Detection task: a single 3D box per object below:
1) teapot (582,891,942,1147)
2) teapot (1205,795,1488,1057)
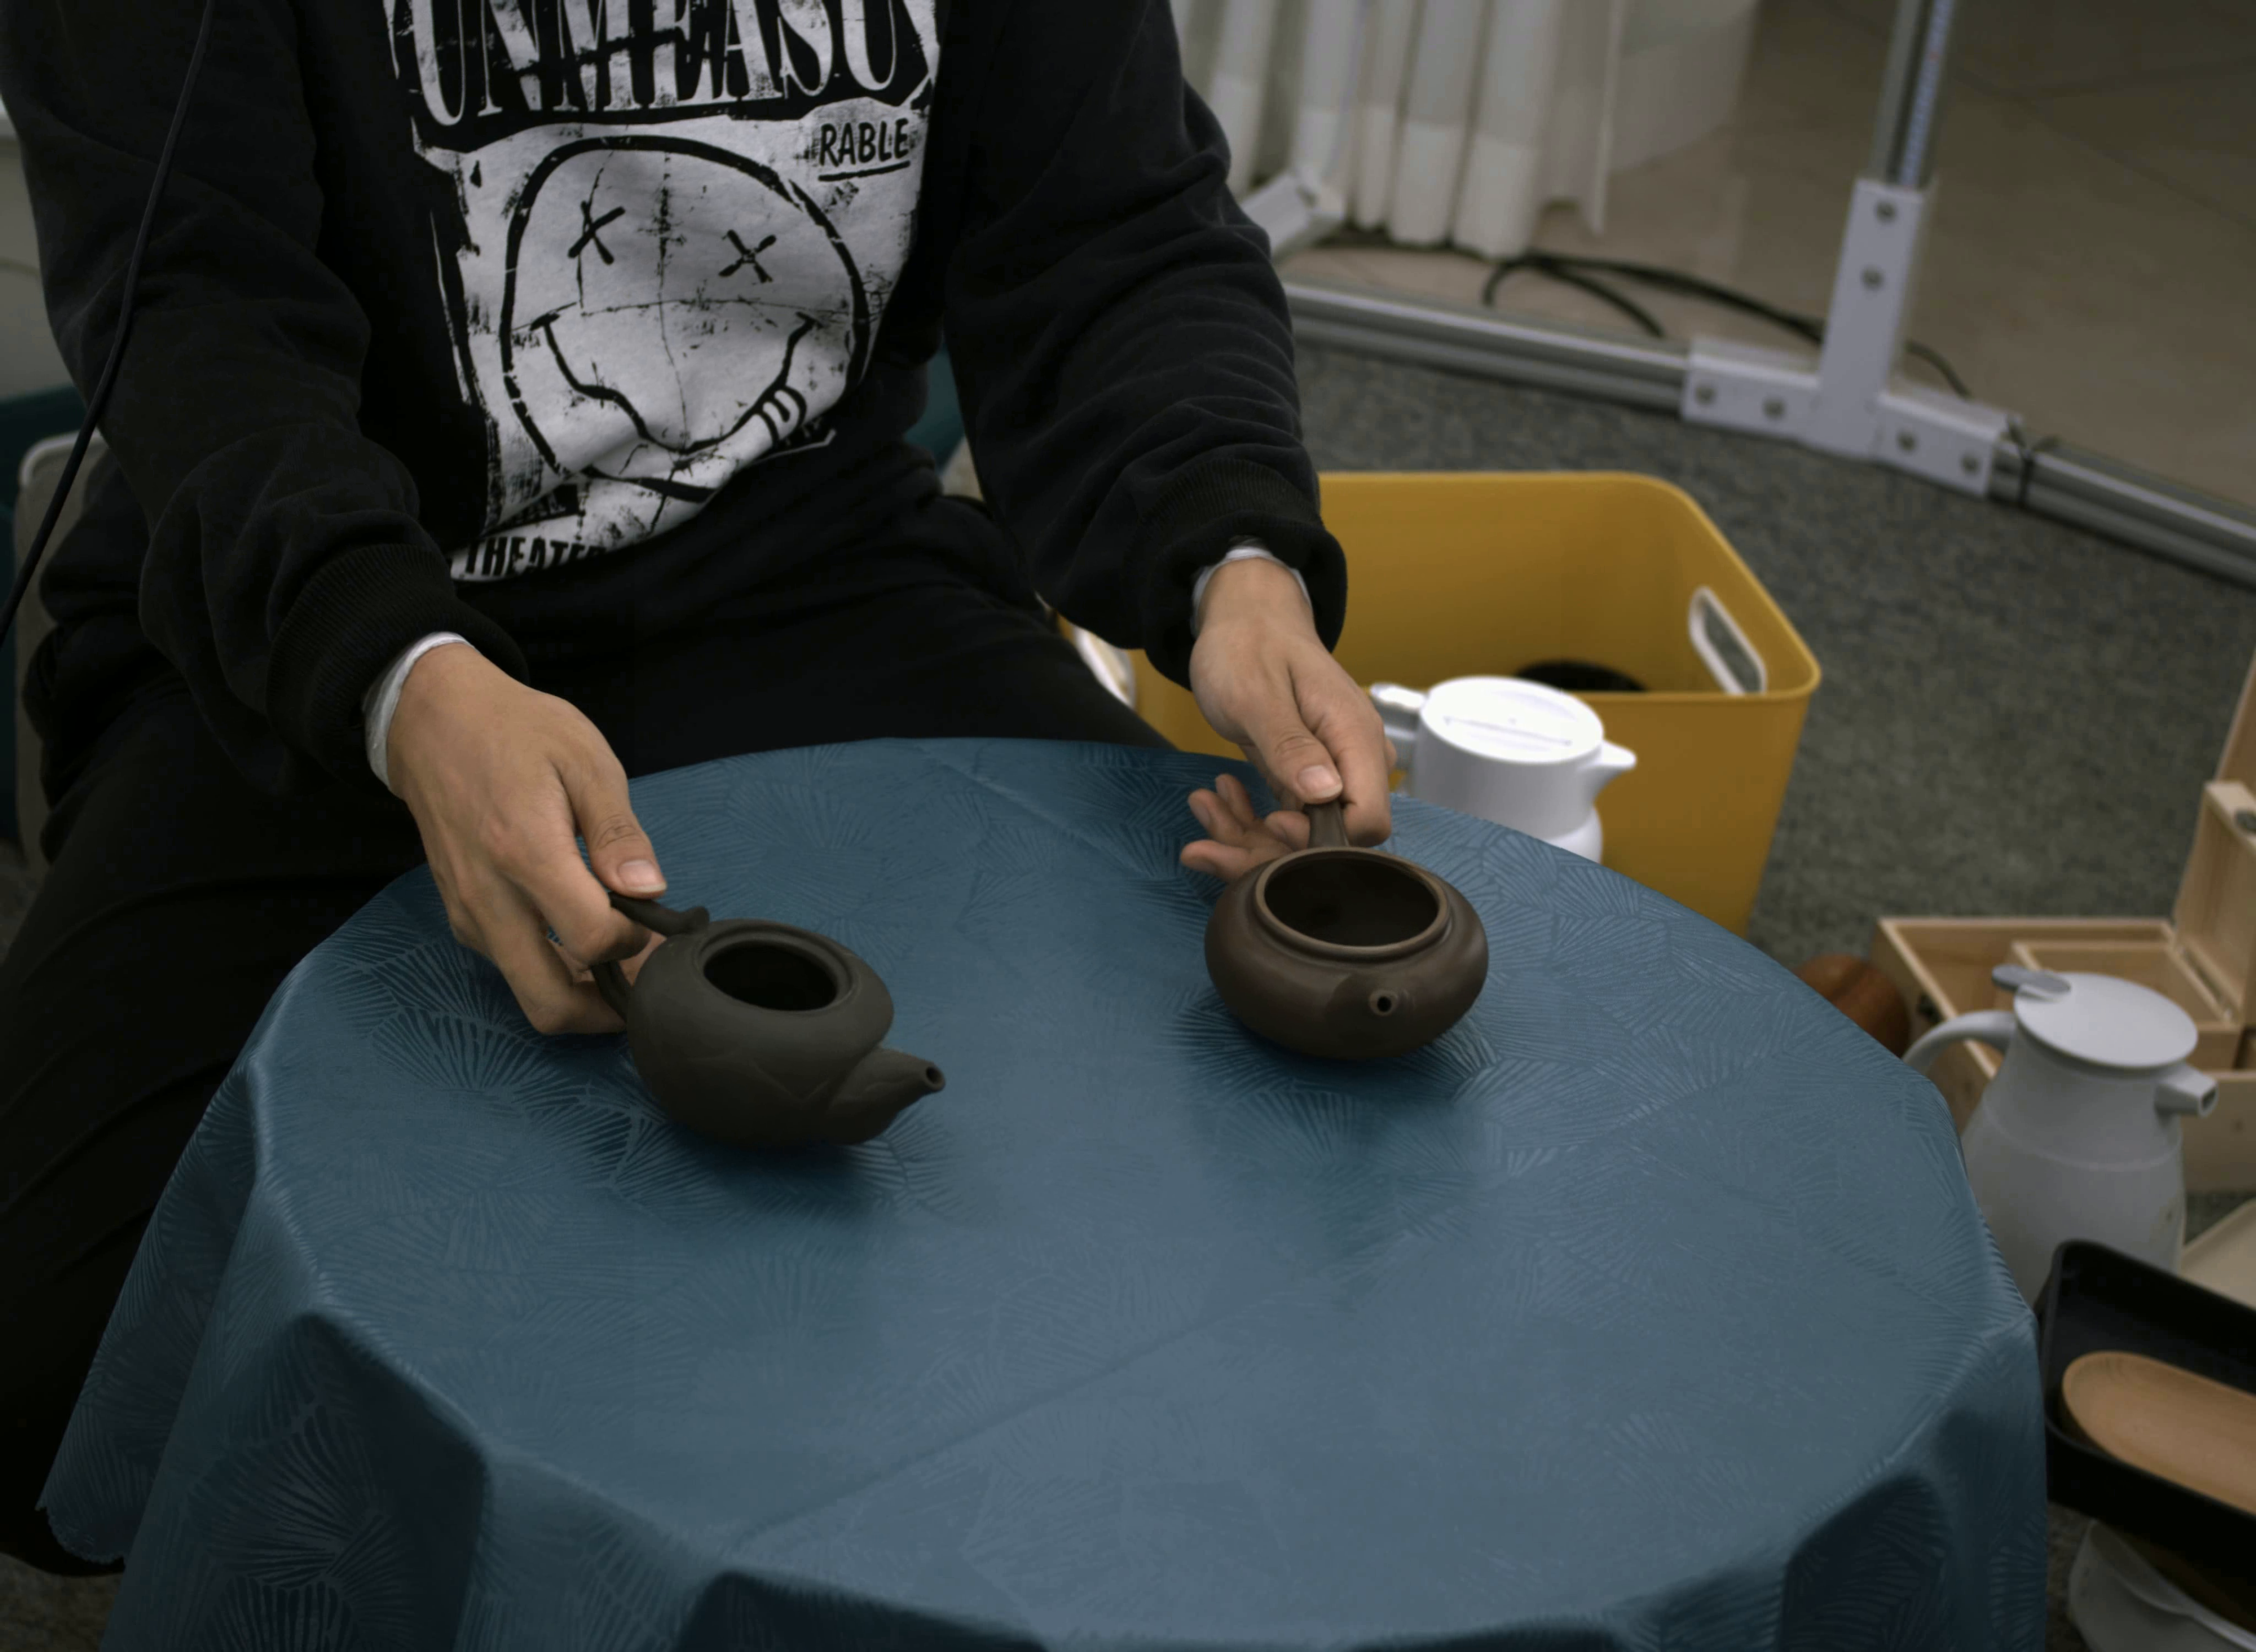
[{"bbox_3d":[-0.128,0.069,1.809,0.155,0.064,0.092,29,30,27],"label":"teapot"},{"bbox_3d":[0.078,0.041,1.919,0.102,0.053,0.155,-1,33,-13],"label":"teapot"}]
